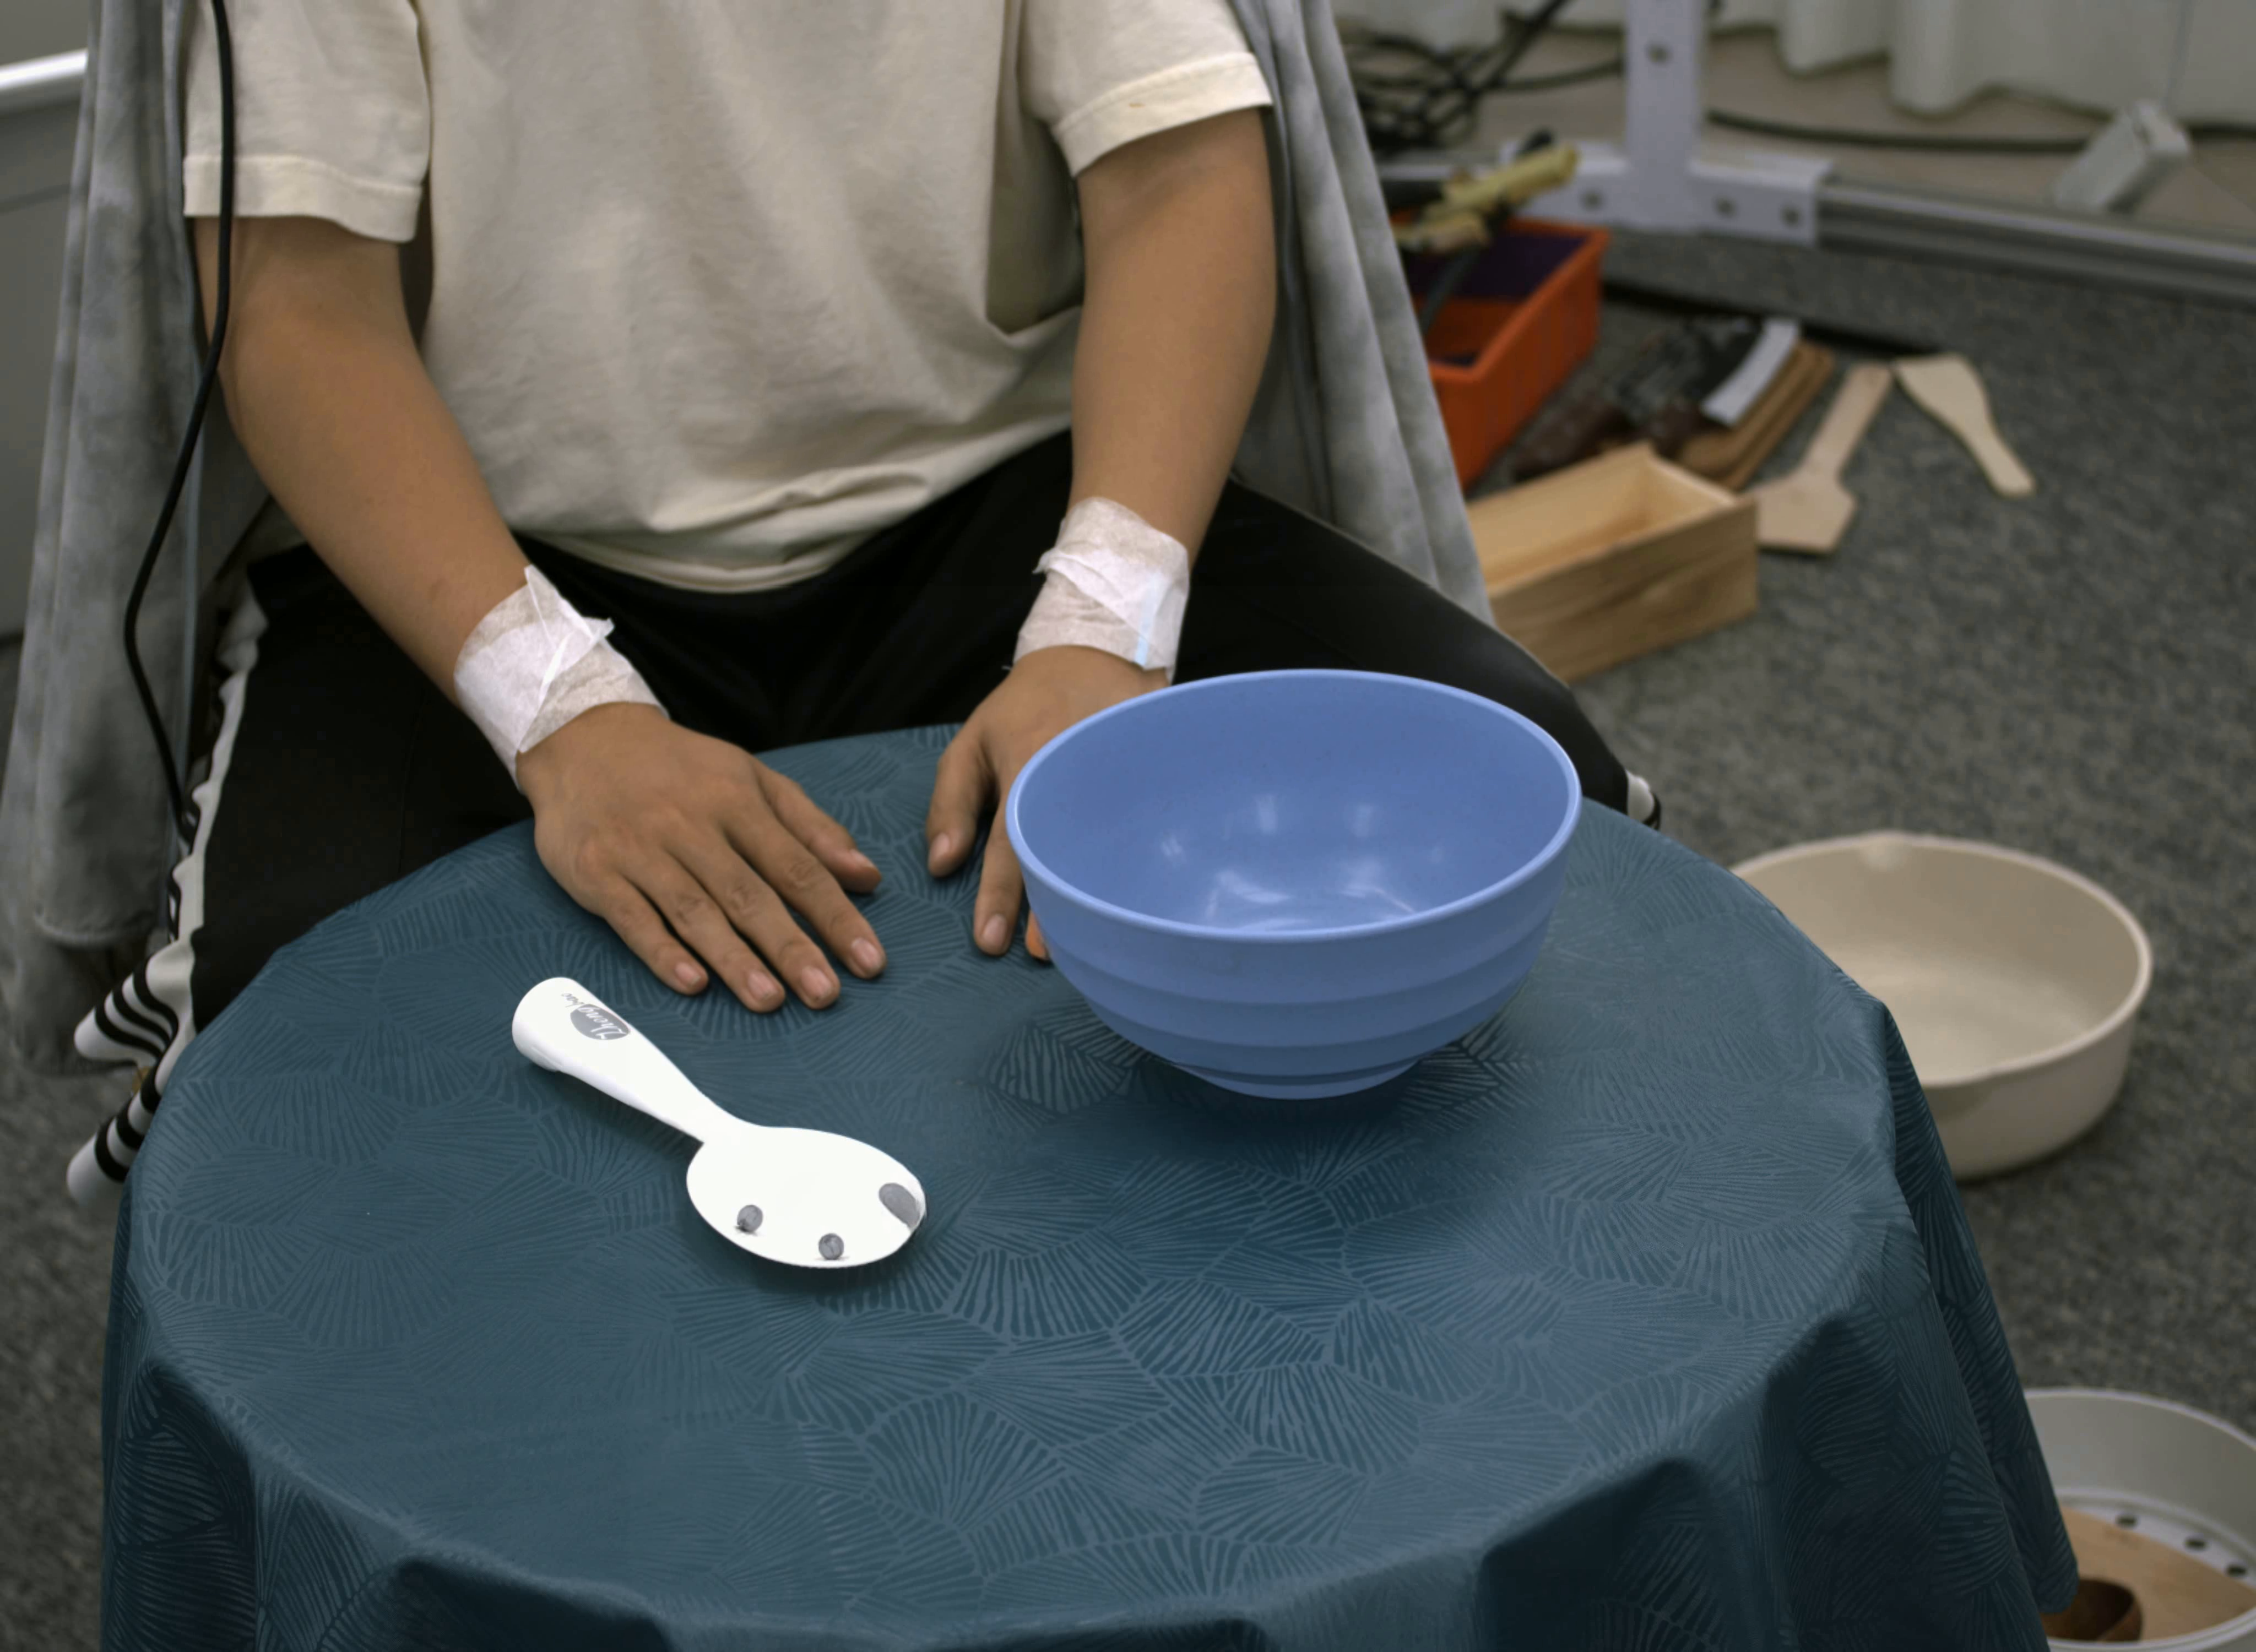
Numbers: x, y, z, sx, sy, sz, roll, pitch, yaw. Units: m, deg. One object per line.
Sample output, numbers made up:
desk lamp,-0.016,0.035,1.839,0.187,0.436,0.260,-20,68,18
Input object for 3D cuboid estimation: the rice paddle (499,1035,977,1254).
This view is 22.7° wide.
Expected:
rice paddle,-0.131,0.109,1.875,0.204,0.029,0.069,17,20,40

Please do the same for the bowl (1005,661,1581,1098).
bowl,0.058,0.029,1.928,0.195,0.094,0.199,-3,29,2
